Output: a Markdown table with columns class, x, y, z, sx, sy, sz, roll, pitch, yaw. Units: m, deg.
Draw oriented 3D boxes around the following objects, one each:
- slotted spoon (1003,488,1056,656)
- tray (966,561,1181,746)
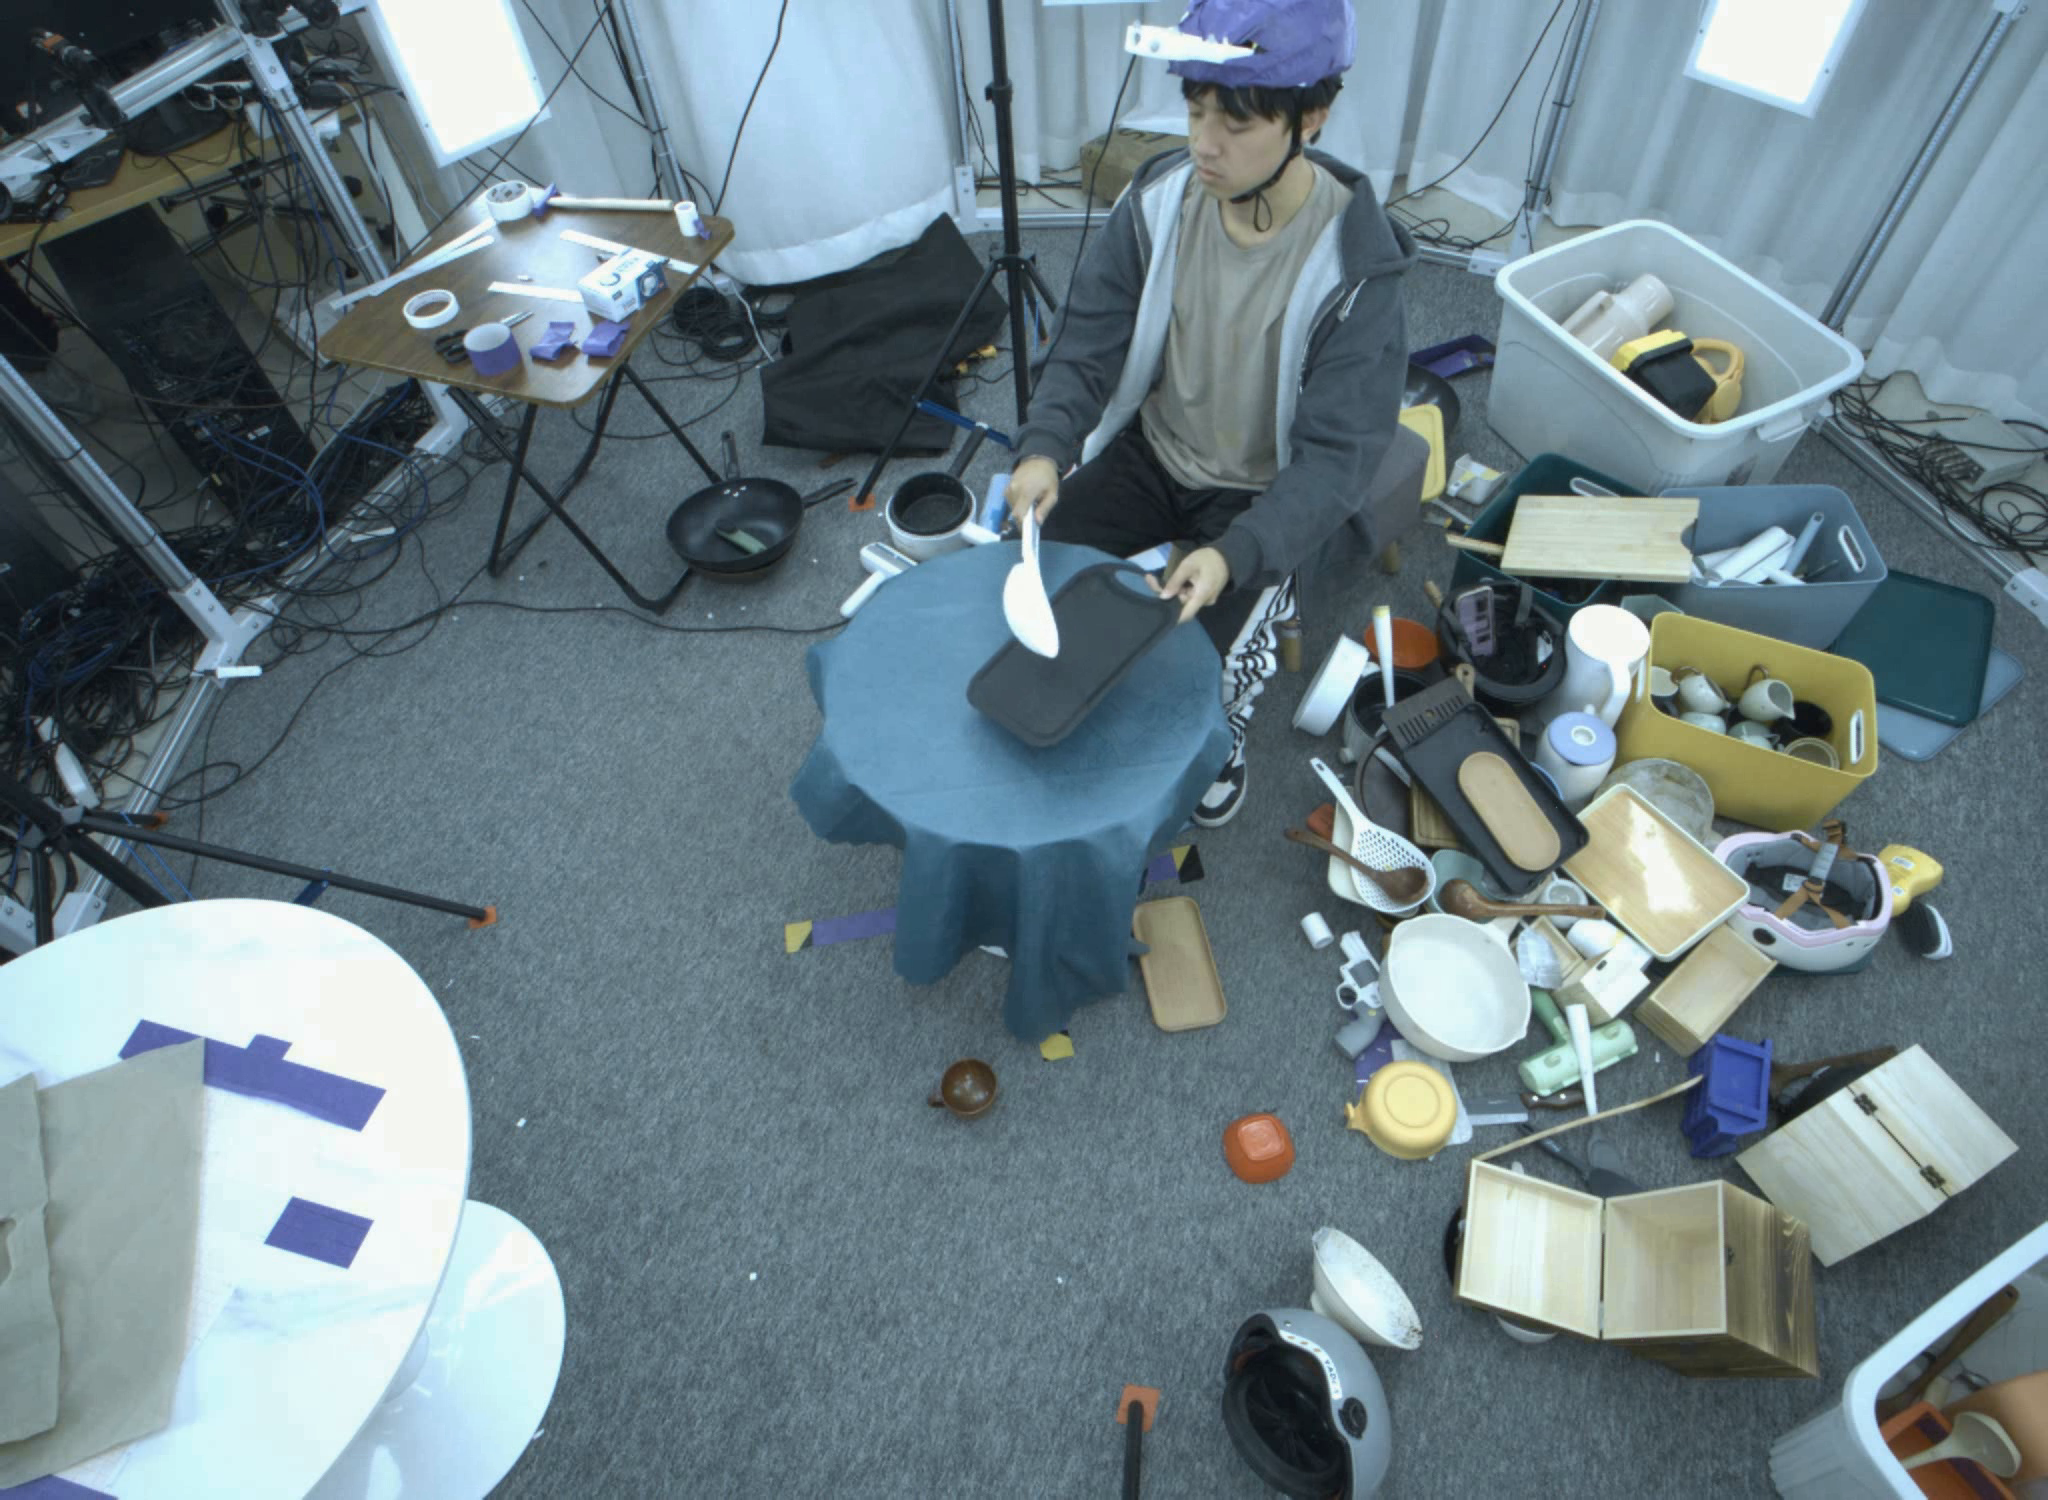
| class | x | y | z | sx | sy | sz | roll | pitch | yaw |
| --- | --- | --- | --- | --- | --- | --- | --- | --- | --- |
| slotted spoon | 0.008 | -0.271 | 1.776 | 0.045 | 0.139 | 0.346 | -15 | 45 | 23 |
| tray | 0.074 | -0.152 | 1.773 | 0.326 | 0.010 | 0.206 | -46 | 51 | -13 |
